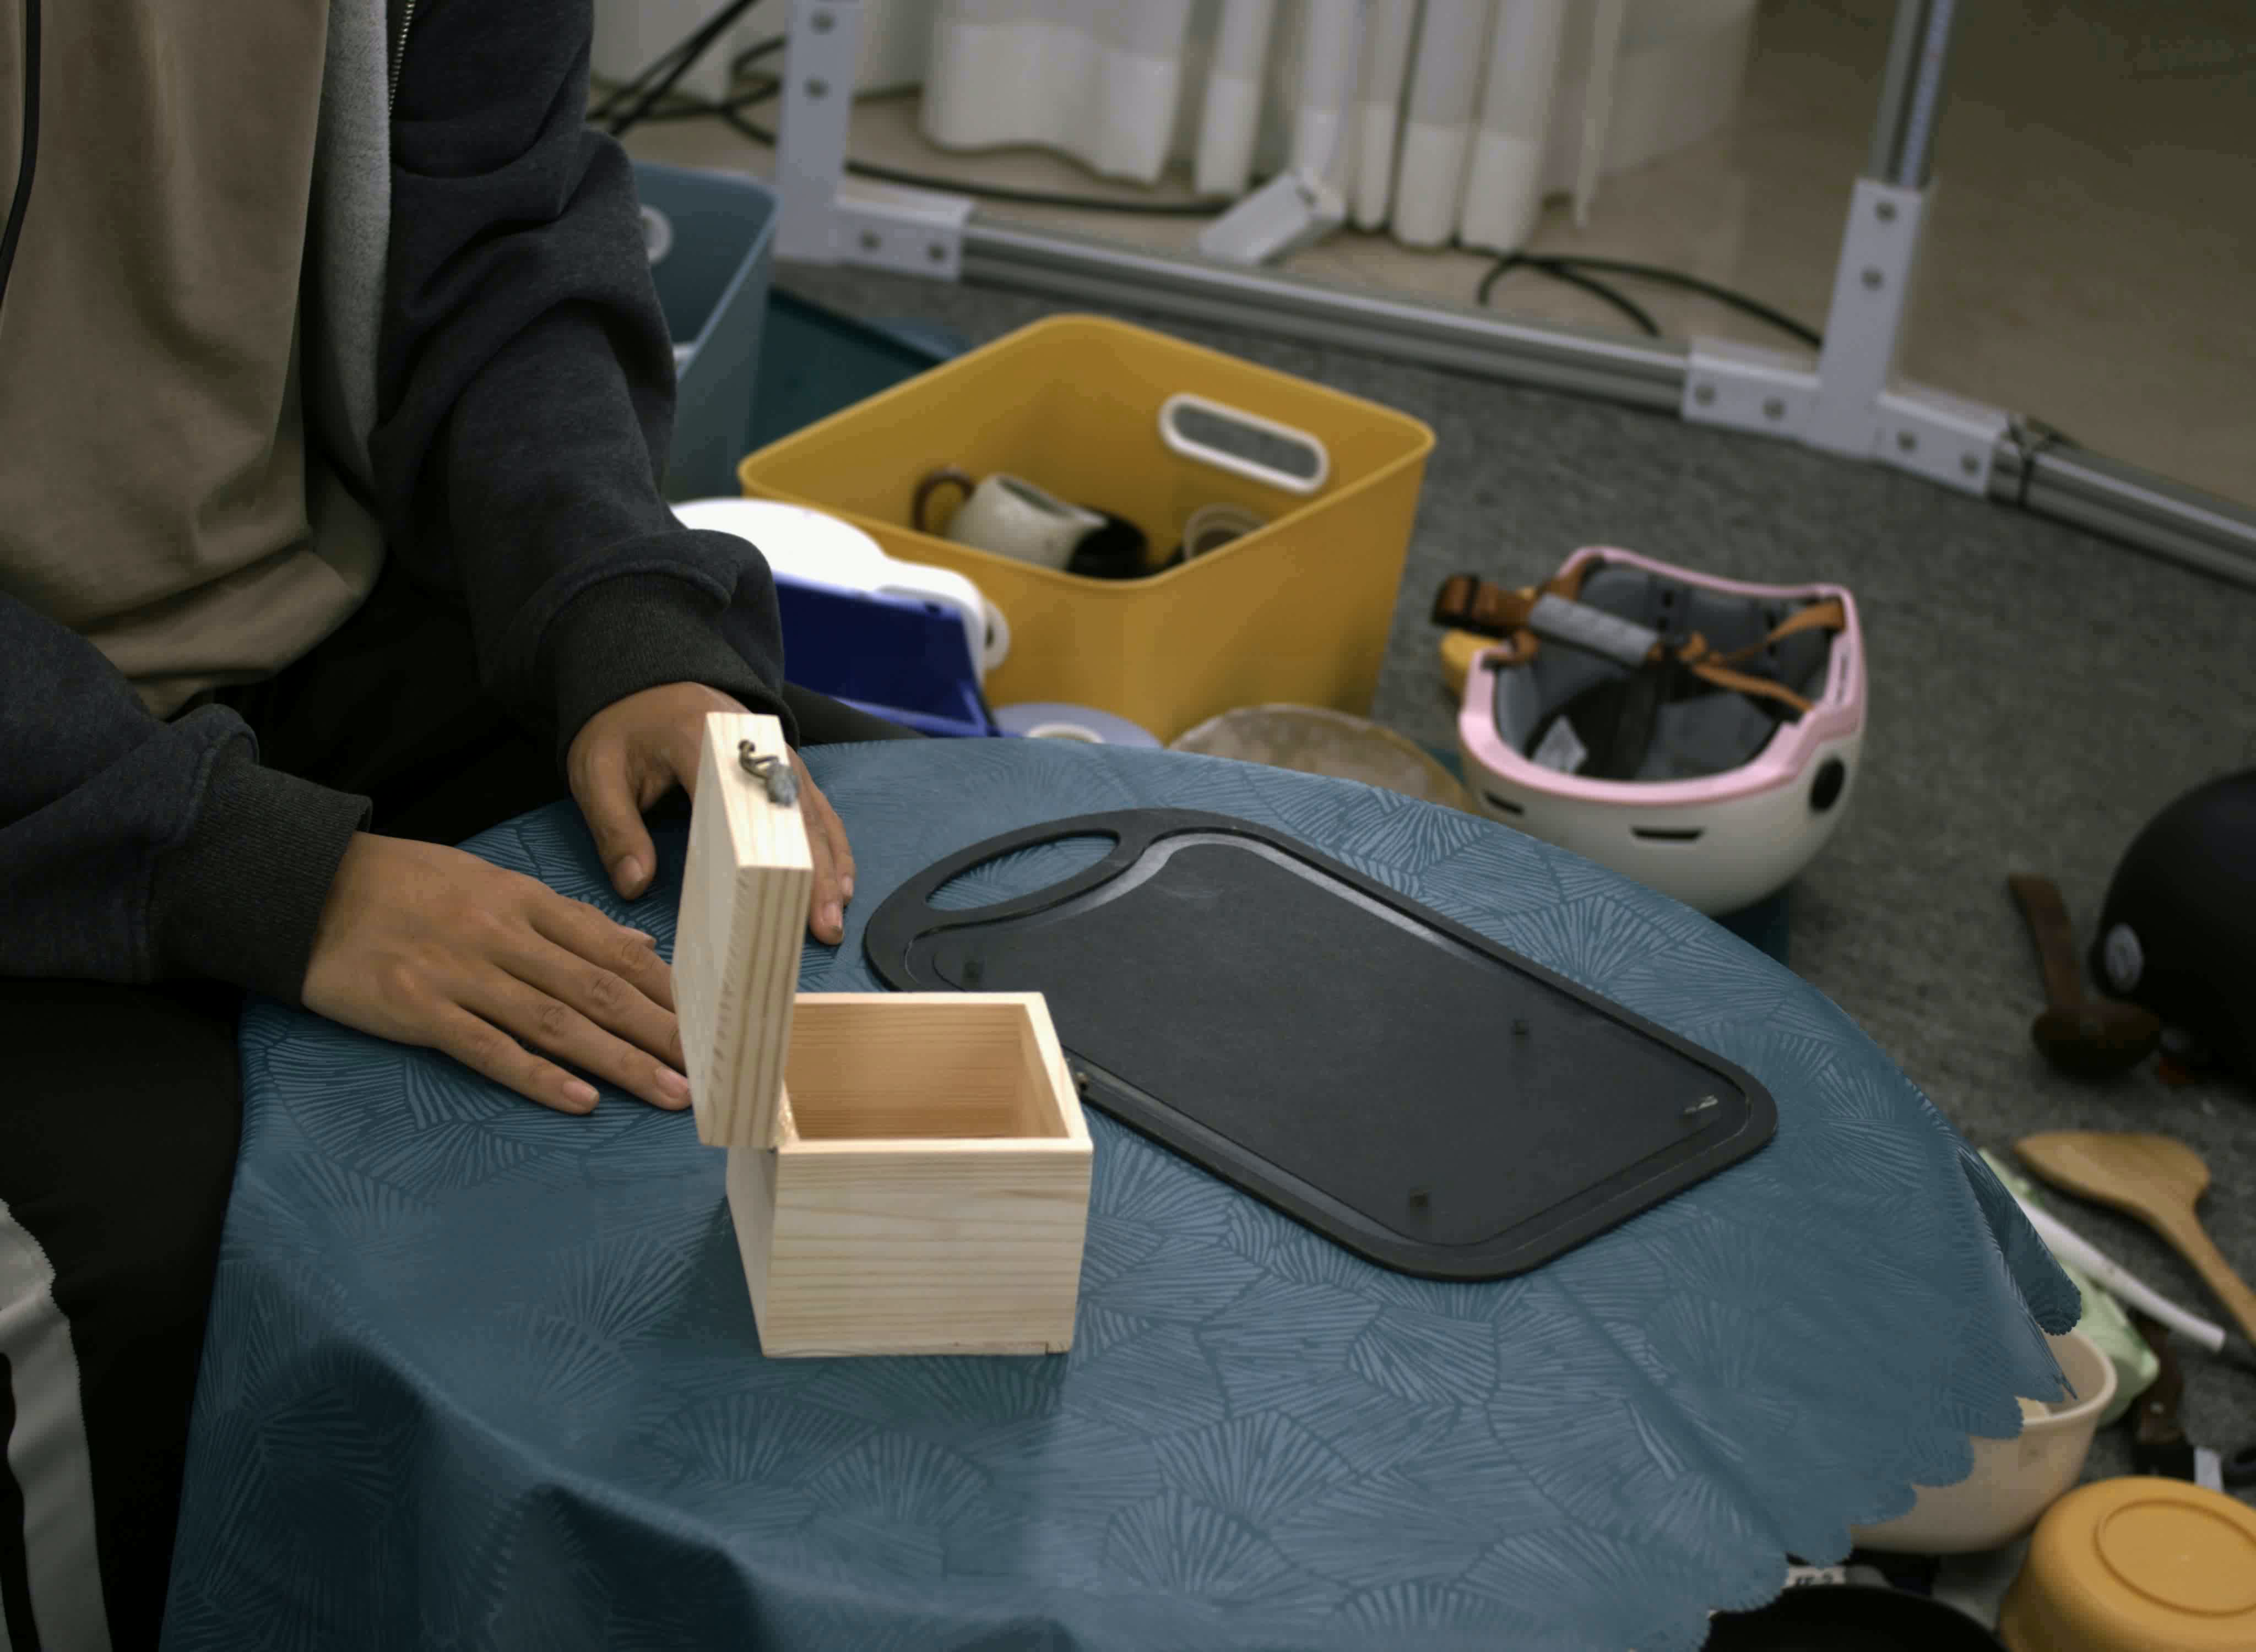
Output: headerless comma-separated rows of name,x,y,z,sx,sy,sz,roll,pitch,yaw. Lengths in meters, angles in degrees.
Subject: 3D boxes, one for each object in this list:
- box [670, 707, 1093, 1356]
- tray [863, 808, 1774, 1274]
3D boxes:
box,-0.076,0.065,1.696,0.133,0.184,0.103,0,28,-12
tray,0.060,0.068,1.916,0.328,0.010,0.210,28,34,36
